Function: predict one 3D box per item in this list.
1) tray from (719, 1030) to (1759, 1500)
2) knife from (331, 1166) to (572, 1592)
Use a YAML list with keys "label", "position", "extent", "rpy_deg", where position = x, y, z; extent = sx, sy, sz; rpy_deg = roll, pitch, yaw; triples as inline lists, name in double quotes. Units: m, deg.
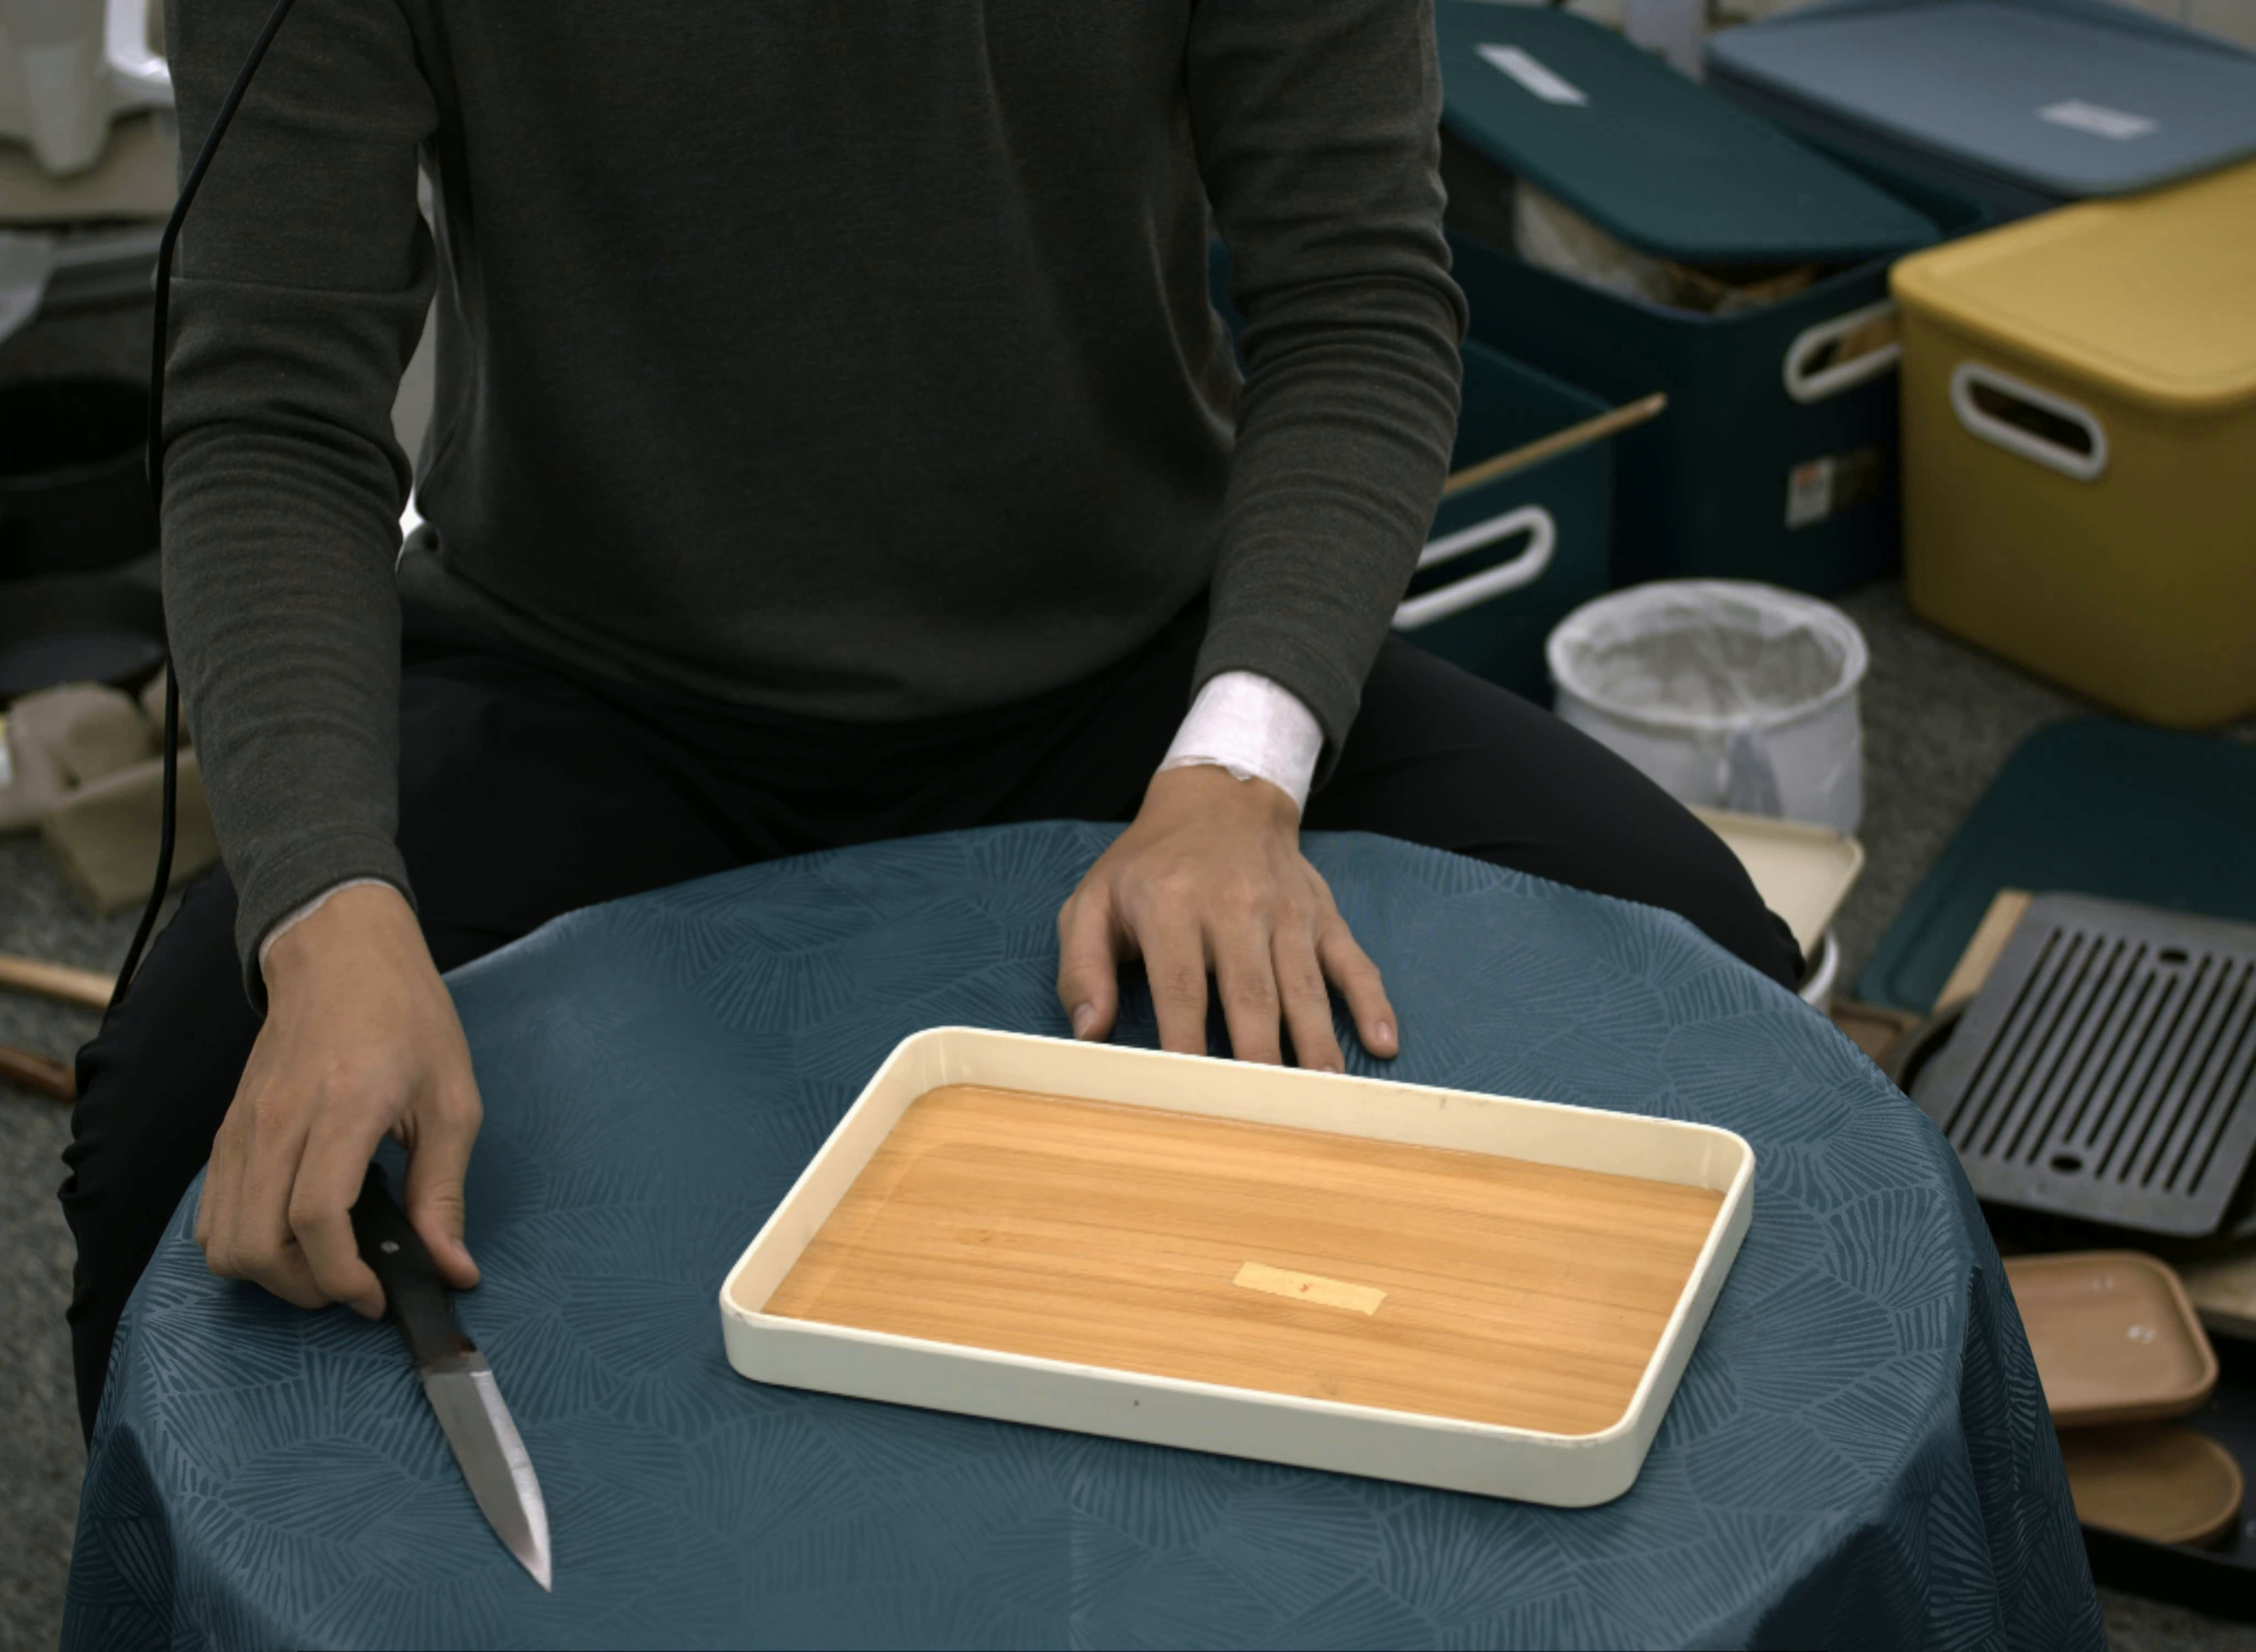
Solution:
- label: "tray"
  position: [0.038, 0.137, 1.800]
  extent: [0.298, 0.027, 0.195]
  rpy_deg: [7, 28, 18]
- label: "knife"
  position: [-0.214, 0.174, 1.766]
  extent: [0.024, 0.016, 0.240]
  rpy_deg: [-12, 32, -19]
